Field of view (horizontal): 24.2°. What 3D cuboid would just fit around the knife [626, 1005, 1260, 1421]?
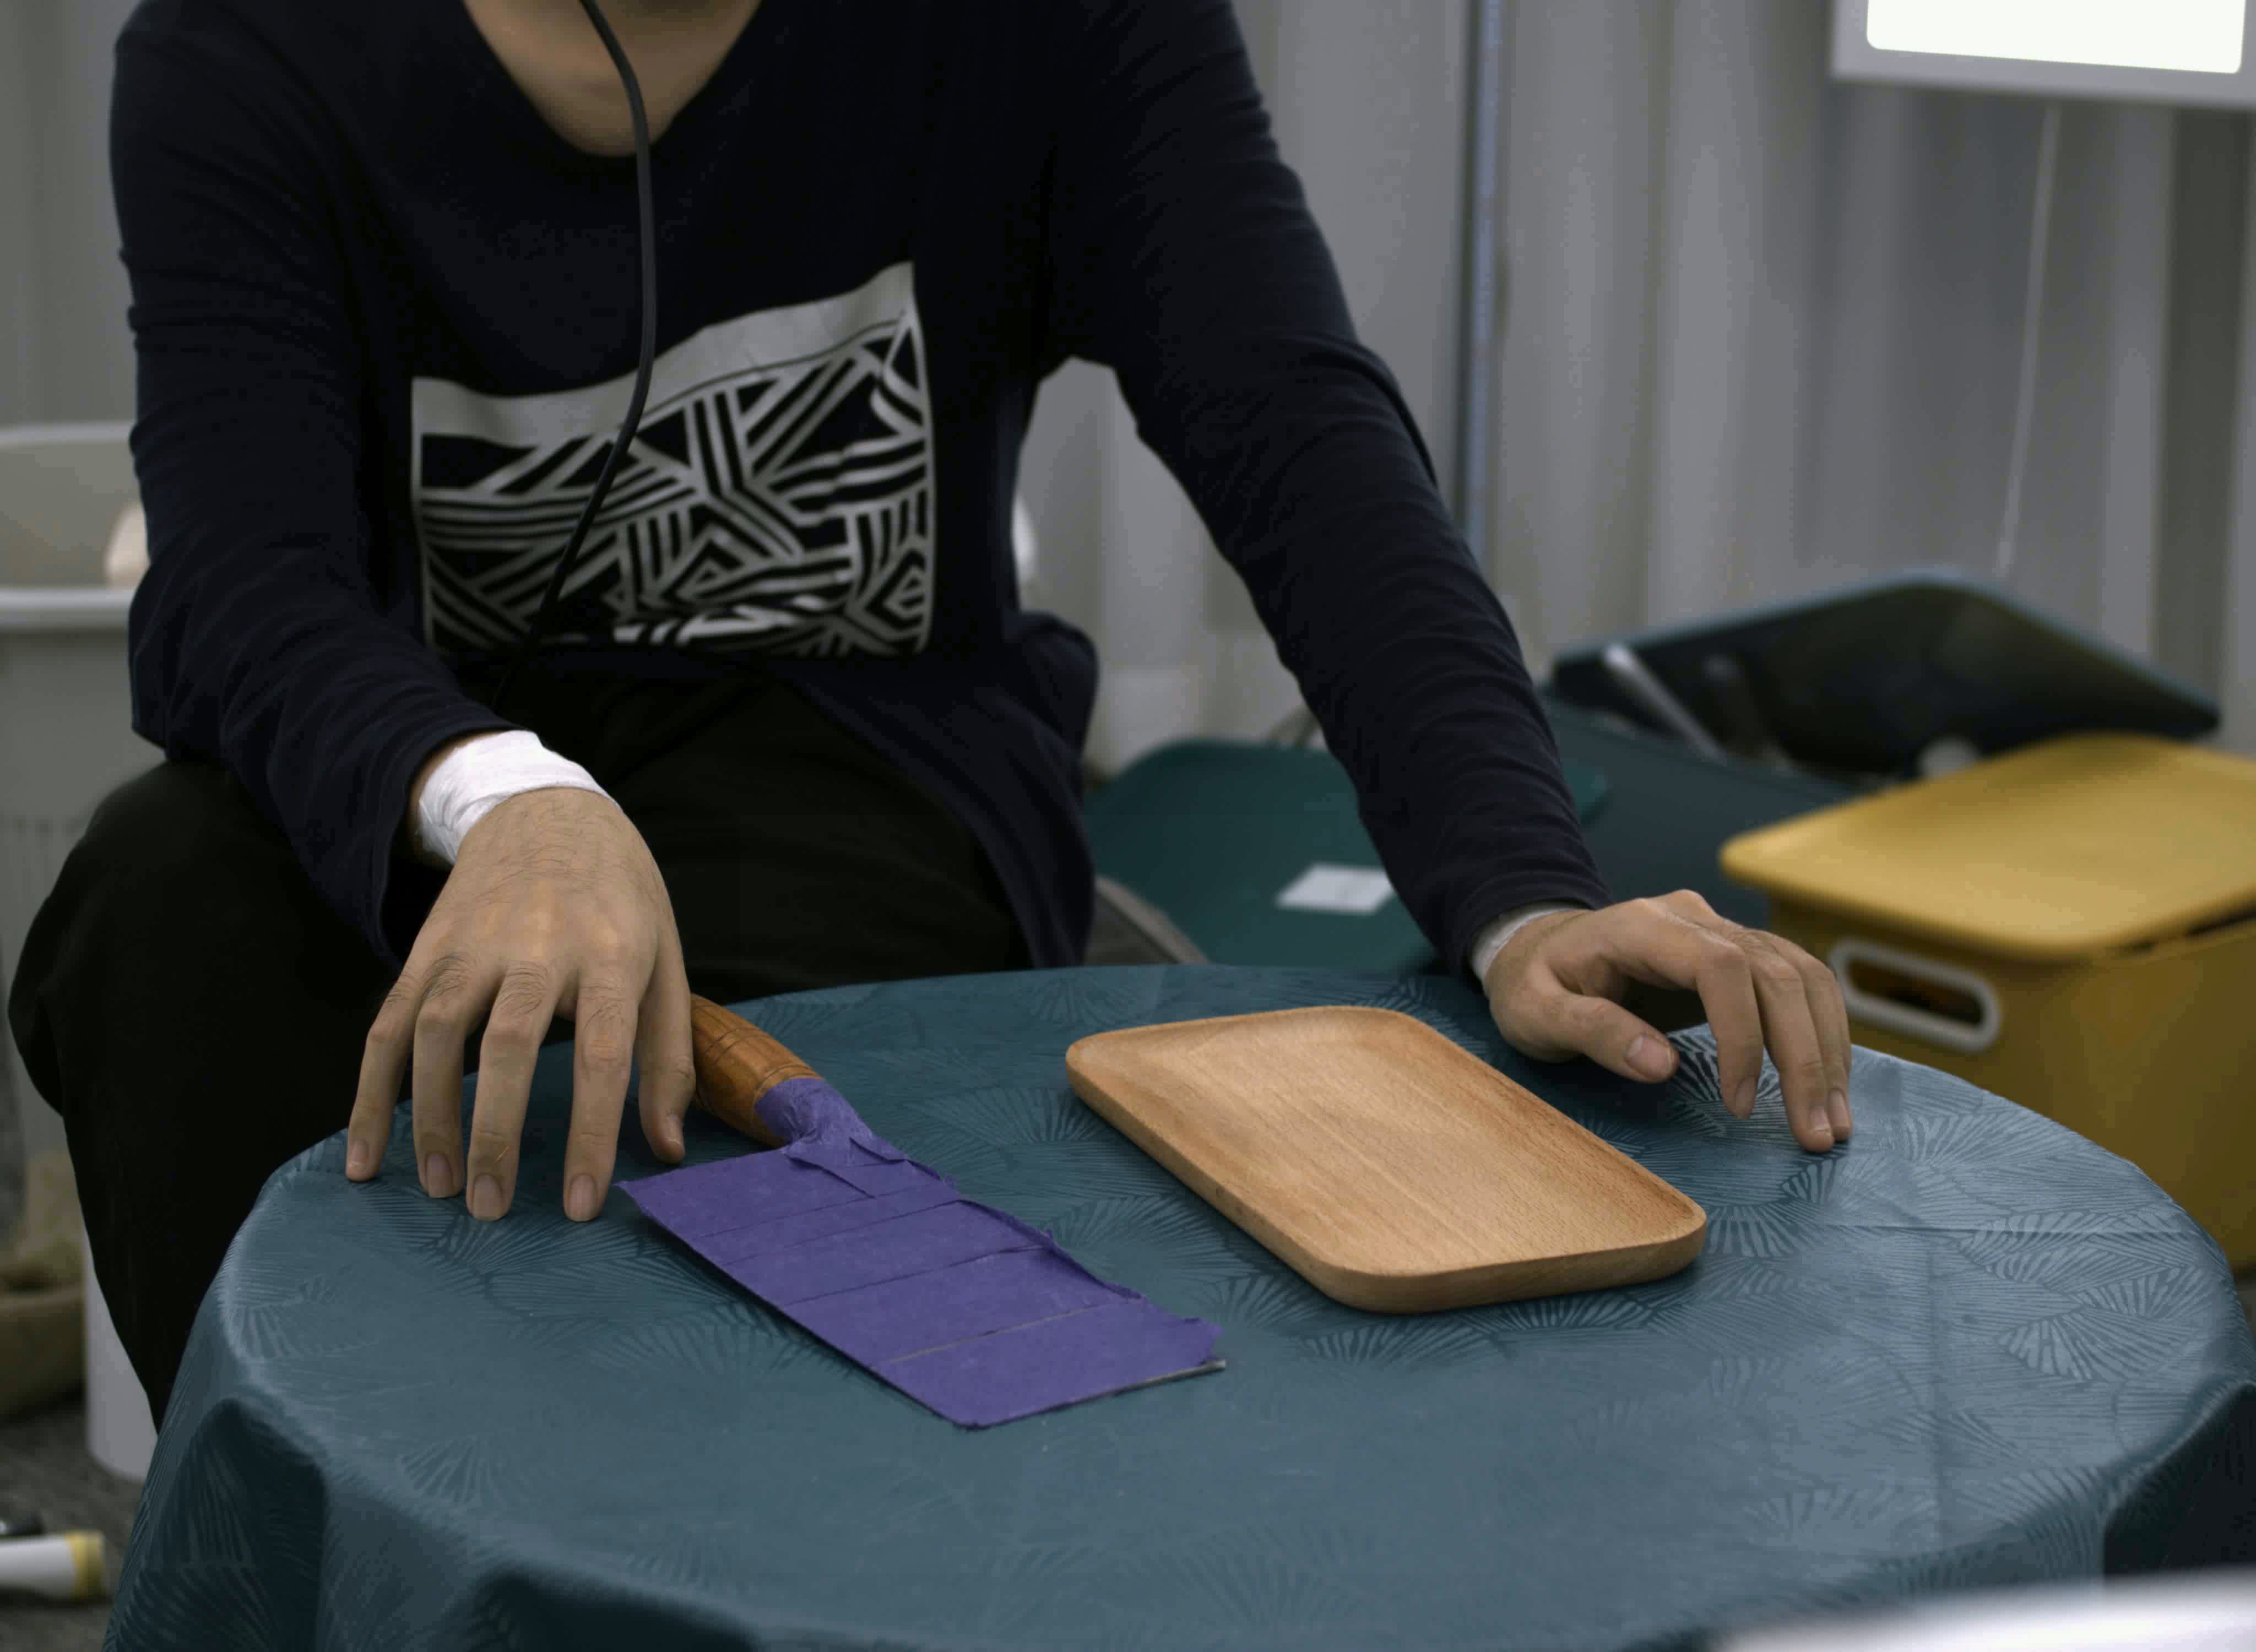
[{"bbox_3d":[-0.090,0.112,1.574,0.104,0.032,0.311,-9,19,-33],"label":"knife"}]

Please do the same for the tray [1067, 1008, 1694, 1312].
[{"bbox_3d":[0.074,0.101,1.638,0.131,0.023,0.248,-7,17,-18],"label":"tray"}]
